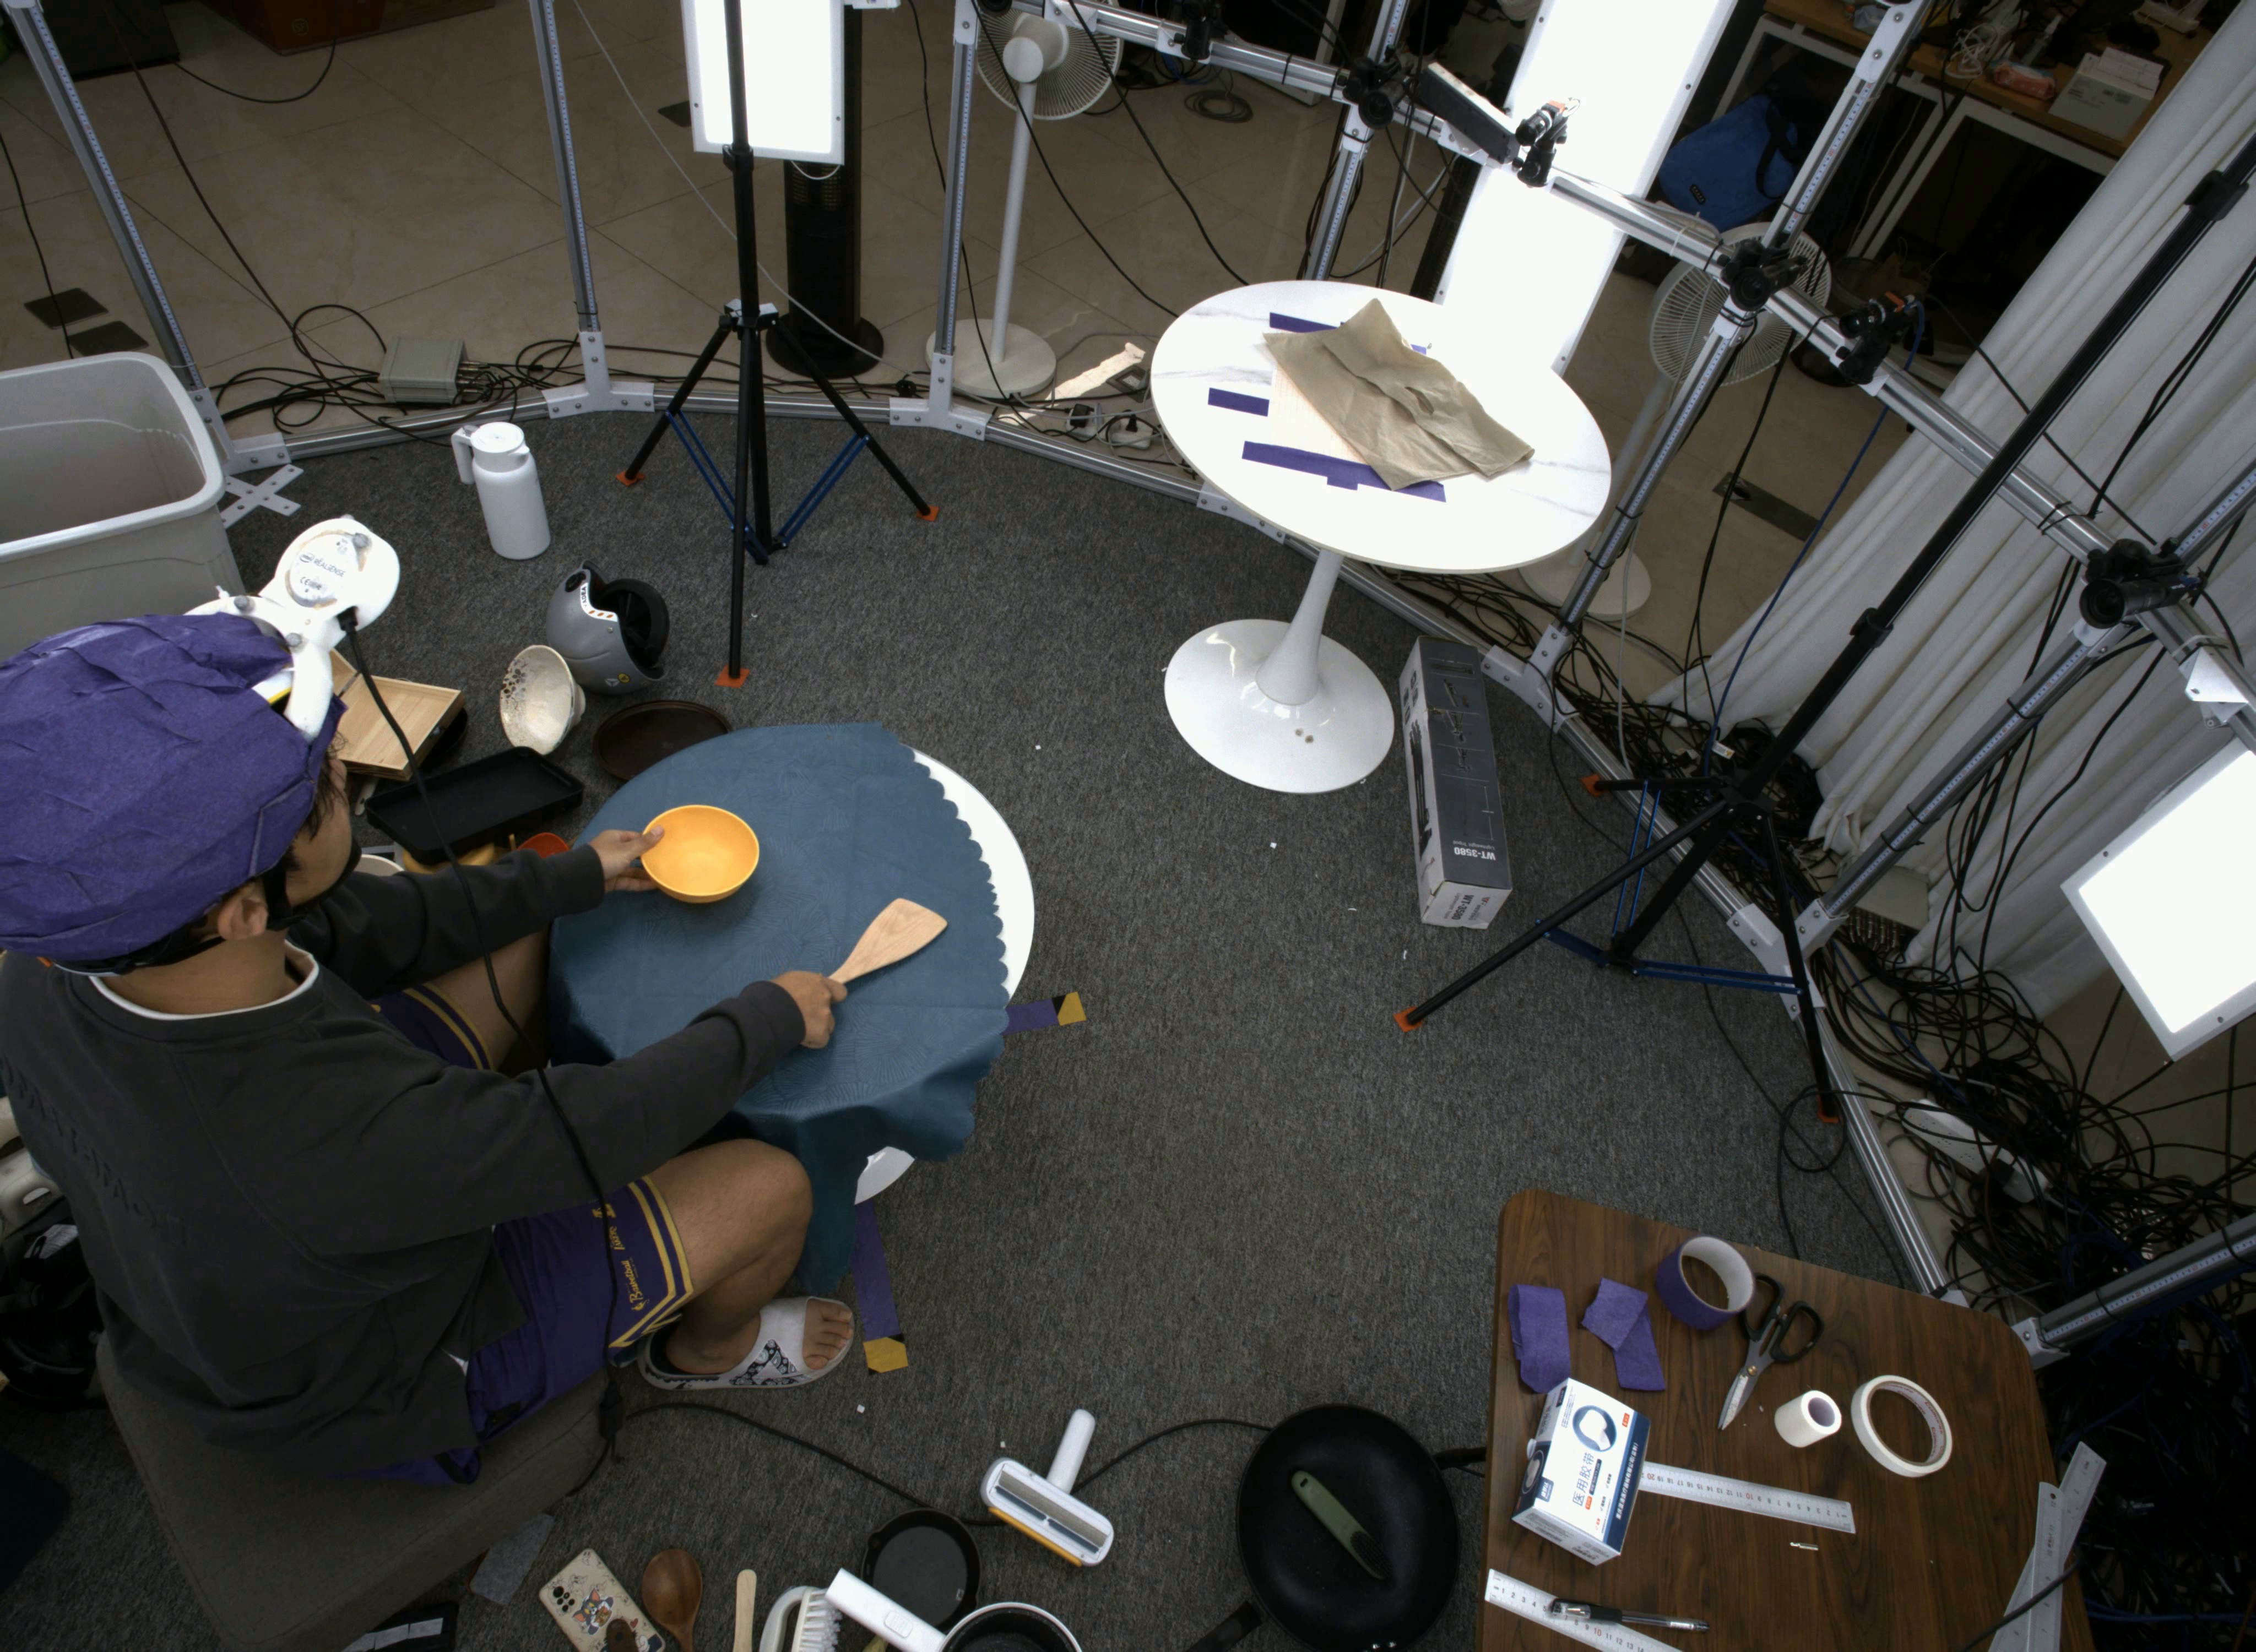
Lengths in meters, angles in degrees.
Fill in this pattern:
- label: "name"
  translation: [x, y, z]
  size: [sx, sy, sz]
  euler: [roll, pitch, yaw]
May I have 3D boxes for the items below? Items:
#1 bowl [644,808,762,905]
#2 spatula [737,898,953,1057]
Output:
- label: "bowl"
  translation: [-0.535, 0.047, 1.621]
  size: [0.146, 0.061, 0.142]
  euler: [13, 45, -12]
- label: "spatula"
  translation: [-0.347, 0.180, 1.581]
  size: [0.078, 0.017, 0.328]
  euler: [35, 44, 17]
